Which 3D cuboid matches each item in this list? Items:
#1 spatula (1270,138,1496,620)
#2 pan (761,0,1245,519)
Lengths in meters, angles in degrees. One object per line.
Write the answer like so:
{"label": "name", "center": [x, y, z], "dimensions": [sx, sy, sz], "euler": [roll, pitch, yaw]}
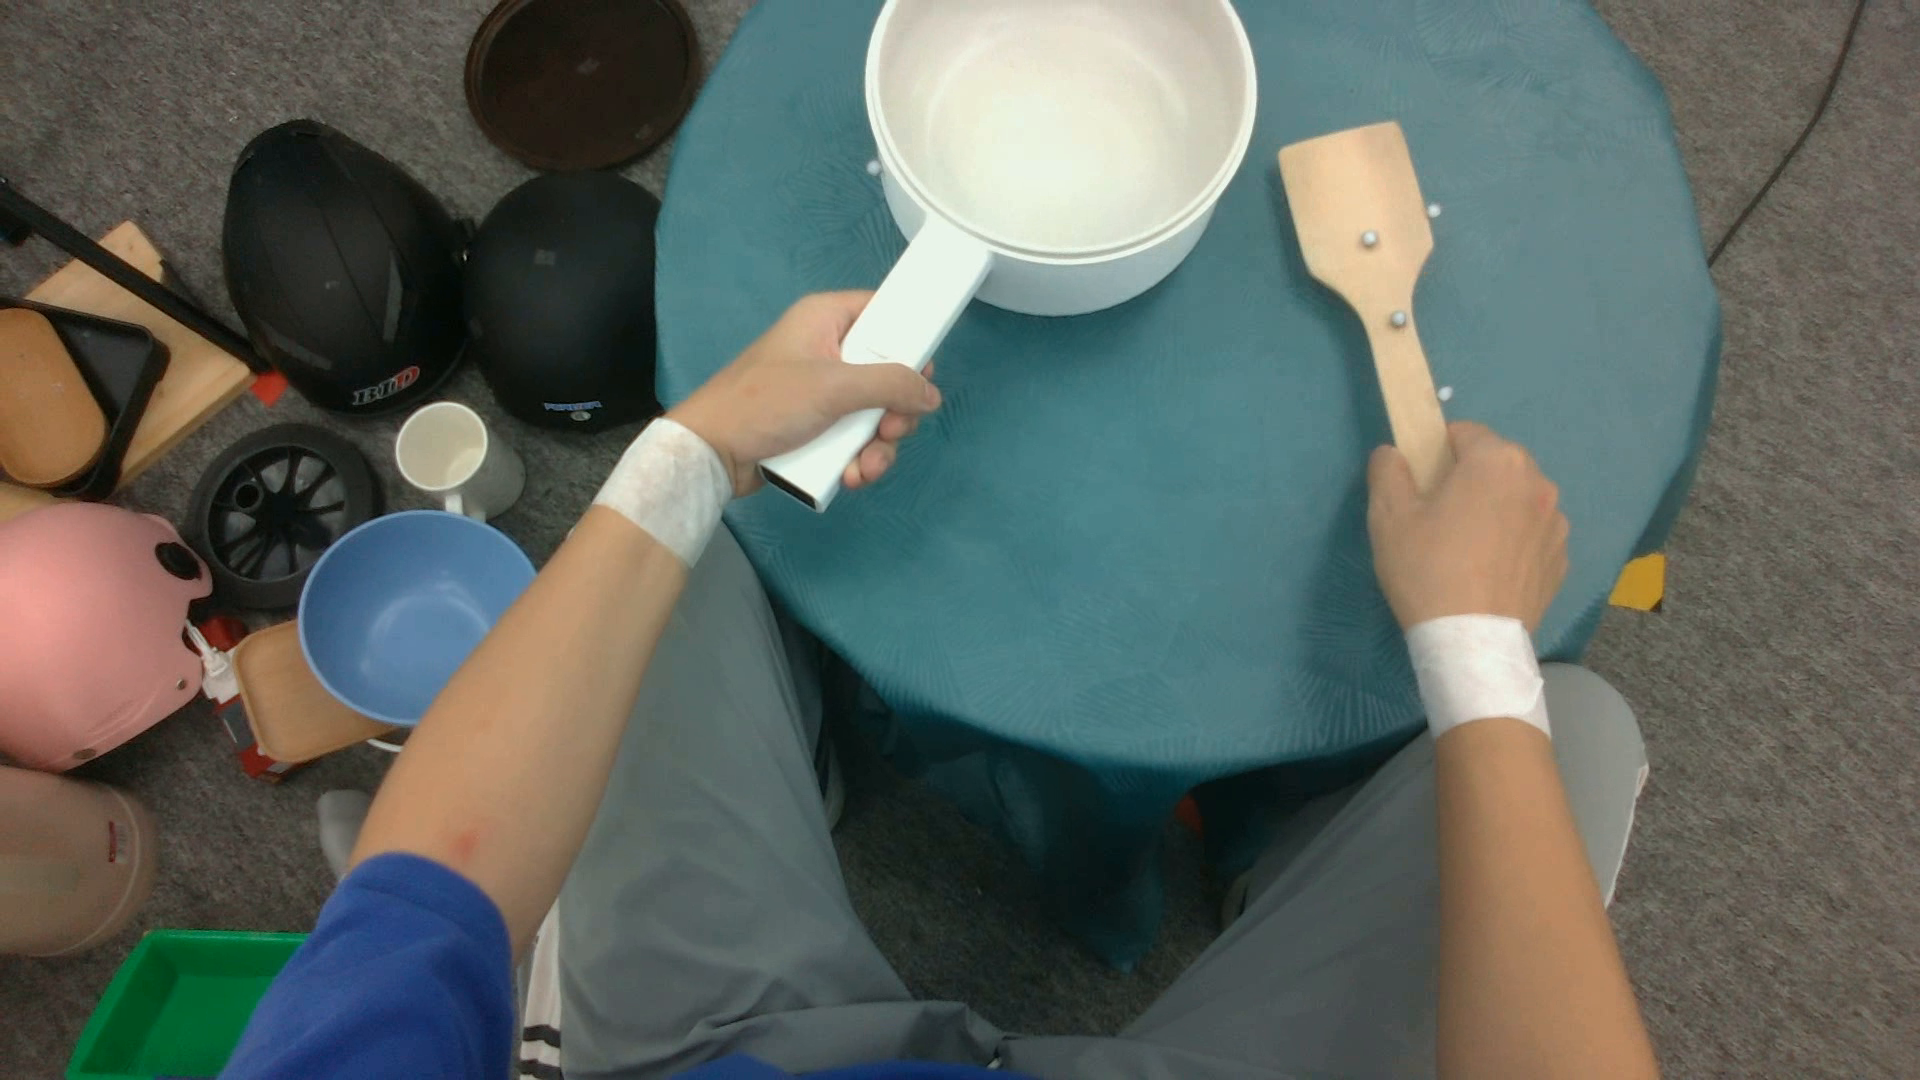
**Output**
{"label": "spatula", "center": [0.236, -0.094, 0.746], "dimensions": [0.072, 0.010, 0.294], "euler": [-12, 67, 7]}
{"label": "pan", "center": [0.010, -0.158, 0.753], "dimensions": [0.201, 0.102, 0.355], "euler": [31, 76, 6]}
